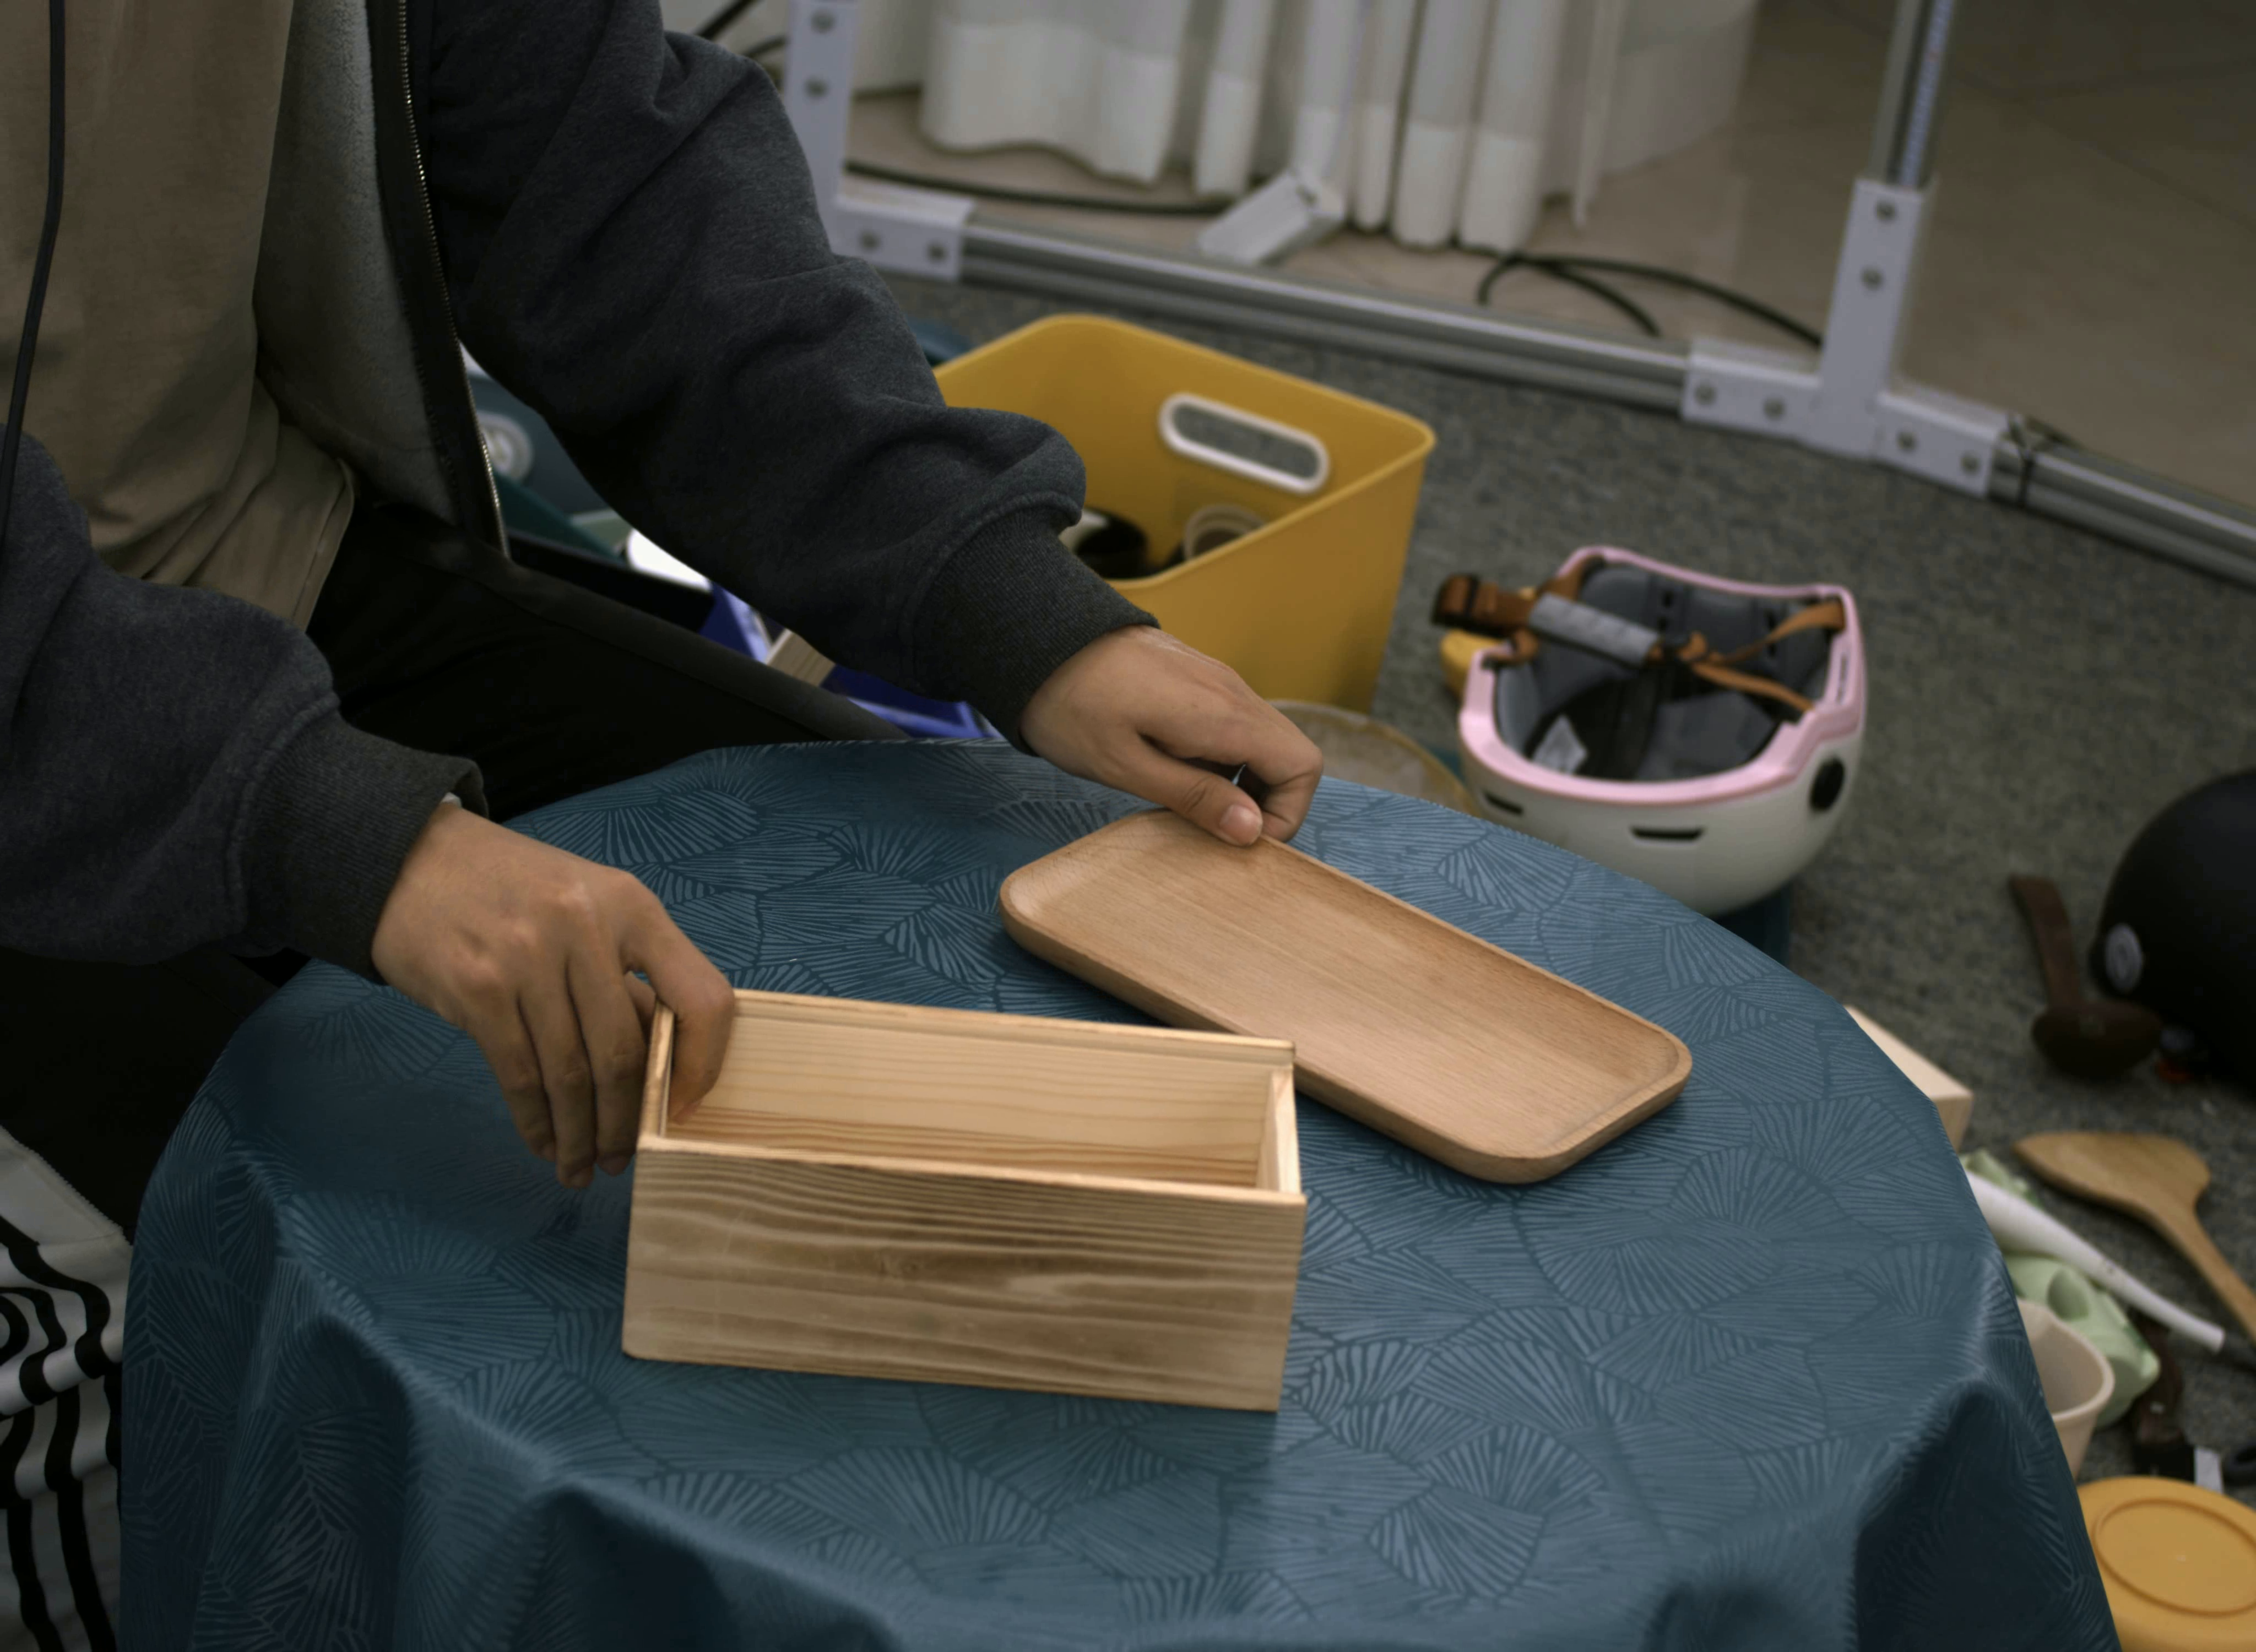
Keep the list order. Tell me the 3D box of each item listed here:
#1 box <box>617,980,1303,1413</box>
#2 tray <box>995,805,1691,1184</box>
[{"bbox_3d":[-0.054,0.118,1.712,0.211,0.080,0.108,5,27,-2],"label":"box"},{"bbox_3d":[0.075,0.059,1.921,0.252,0.023,0.130,26,30,32],"label":"tray"}]
